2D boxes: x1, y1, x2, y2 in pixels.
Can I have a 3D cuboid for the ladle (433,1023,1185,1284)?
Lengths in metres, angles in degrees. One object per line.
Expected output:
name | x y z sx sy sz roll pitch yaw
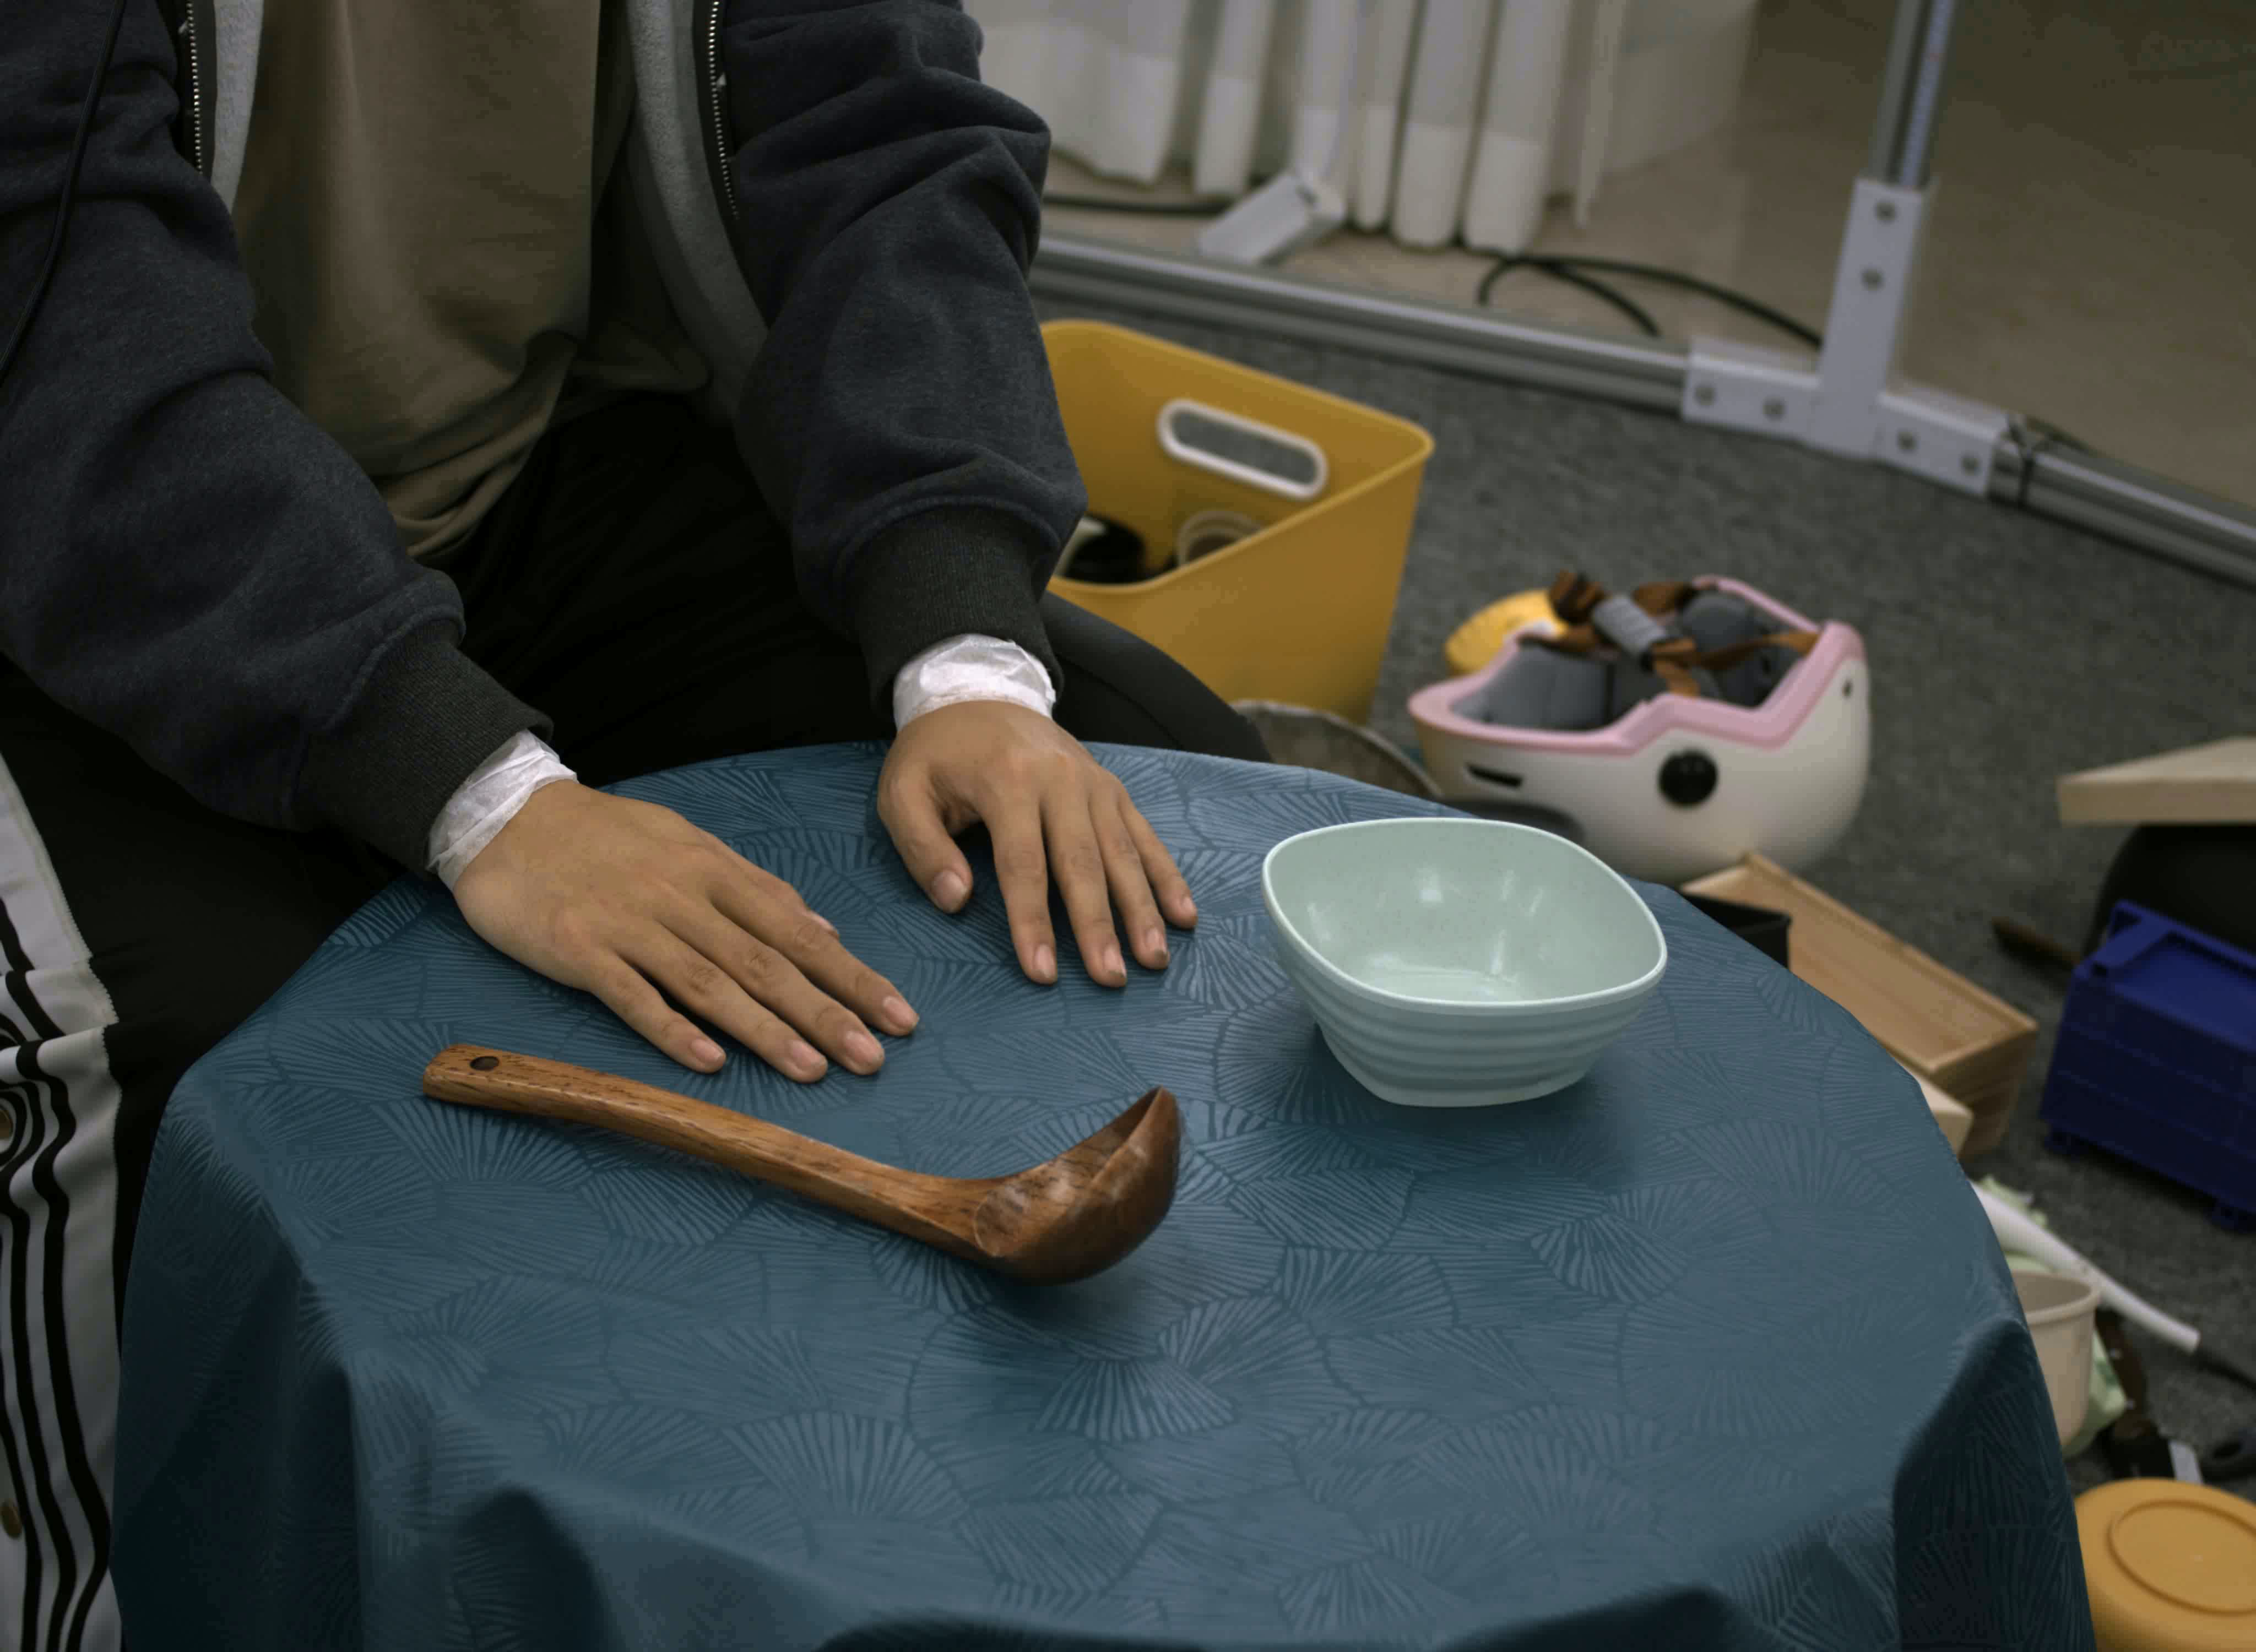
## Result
ladle | -0.111 0.088 1.759 0.275 0.076 0.082 17 33 19

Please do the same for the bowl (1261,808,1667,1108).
bowl | 0.116 0.053 1.901 0.151 0.058 0.152 5 30 -3
